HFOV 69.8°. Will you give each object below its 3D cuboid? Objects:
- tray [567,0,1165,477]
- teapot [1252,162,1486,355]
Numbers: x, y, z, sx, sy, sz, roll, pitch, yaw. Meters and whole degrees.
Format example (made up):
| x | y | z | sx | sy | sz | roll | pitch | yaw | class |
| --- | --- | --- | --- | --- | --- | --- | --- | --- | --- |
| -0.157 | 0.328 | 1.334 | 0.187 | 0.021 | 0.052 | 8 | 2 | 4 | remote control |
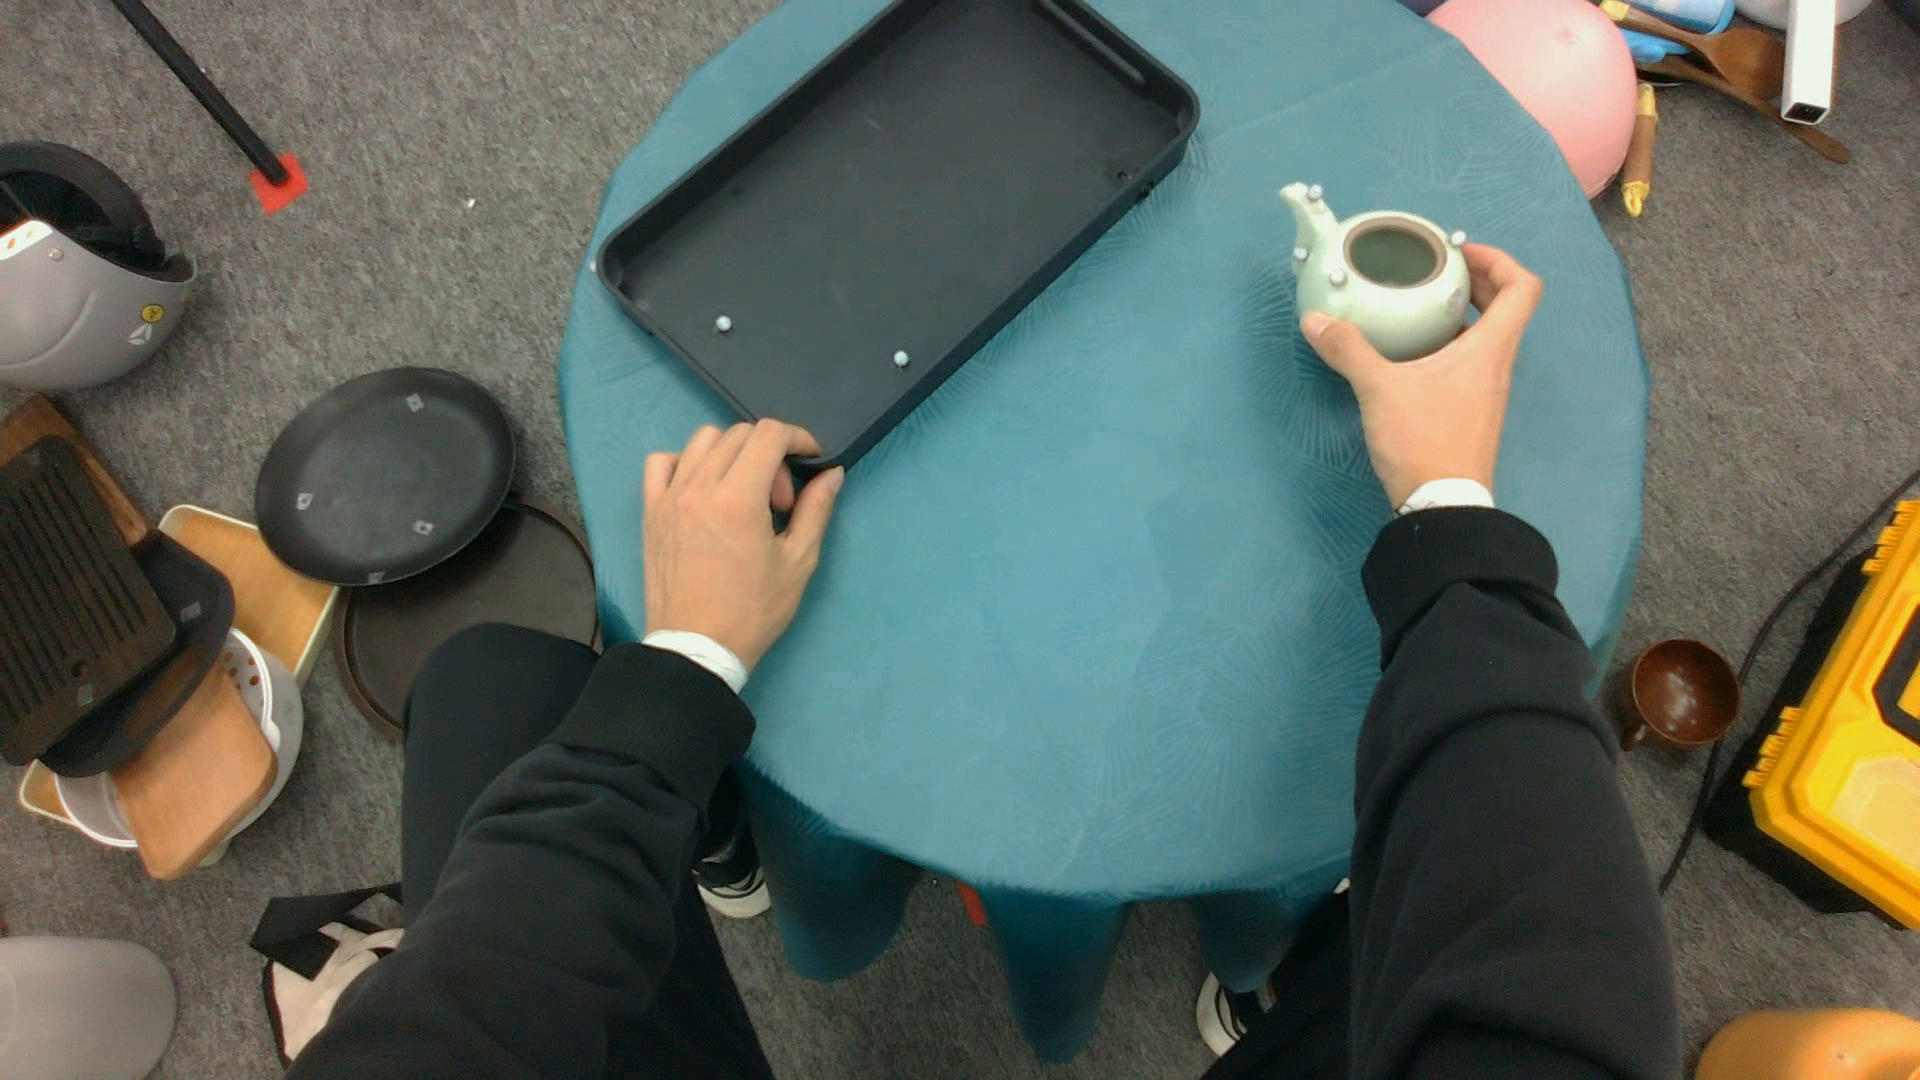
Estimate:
| x | y | z | sx | sy | sz | roll | pitch | yaw | class |
| --- | --- | --- | --- | --- | --- | --- | --- | --- | --- |
| -0.048 | -0.197 | 0.777 | 0.184 | 0.037 | 0.319 | 40 | 75 | 12 | tray |
| 0.211 | -0.143 | 0.739 | 0.144 | 0.074 | 0.088 | 40 | 68 | 22 | teapot |
